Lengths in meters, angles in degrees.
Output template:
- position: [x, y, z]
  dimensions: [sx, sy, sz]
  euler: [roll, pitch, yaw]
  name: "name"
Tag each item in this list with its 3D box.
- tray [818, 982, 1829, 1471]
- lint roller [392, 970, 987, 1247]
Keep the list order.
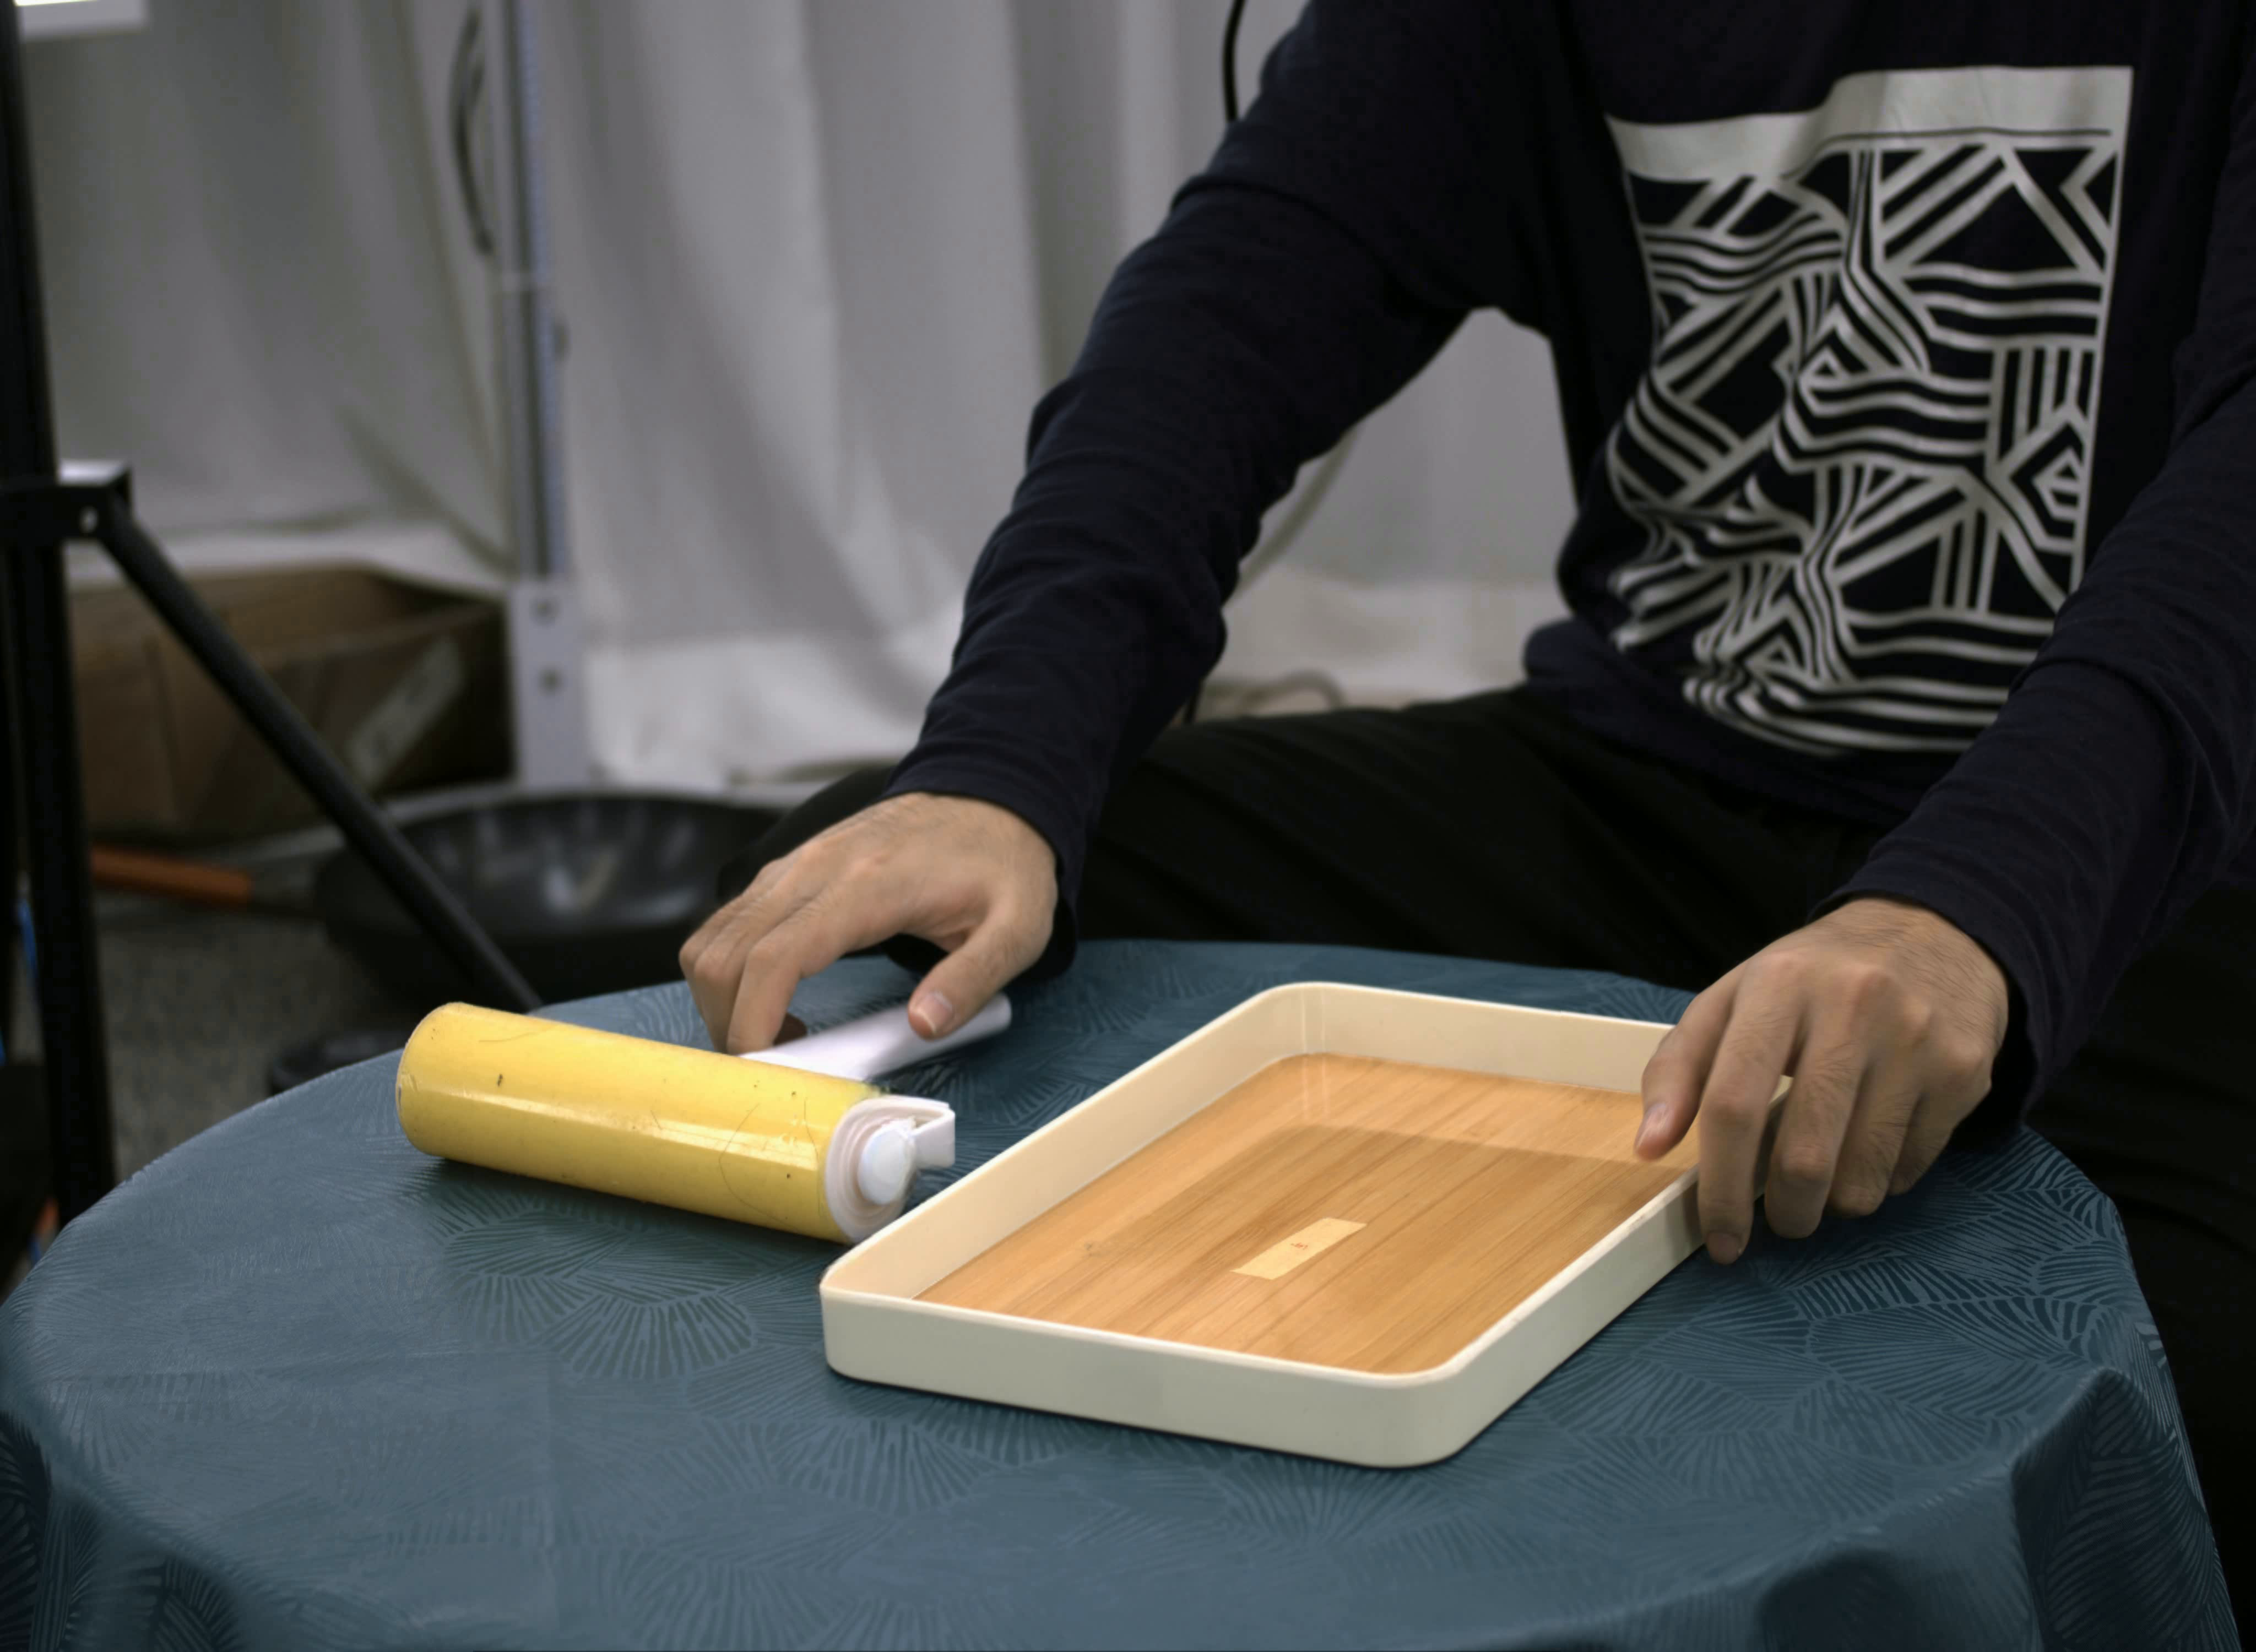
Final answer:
- position: [0.063, 0.107, 1.505]
  dimensions: [0.195, 0.027, 0.295]
  euler: [7, 18, 28]
  name: "tray"
- position: [-0.103, 0.064, 1.627]
  dimensions: [0.177, 0.051, 0.189]
  euler: [9, 25, 32]
  name: "lint roller"
